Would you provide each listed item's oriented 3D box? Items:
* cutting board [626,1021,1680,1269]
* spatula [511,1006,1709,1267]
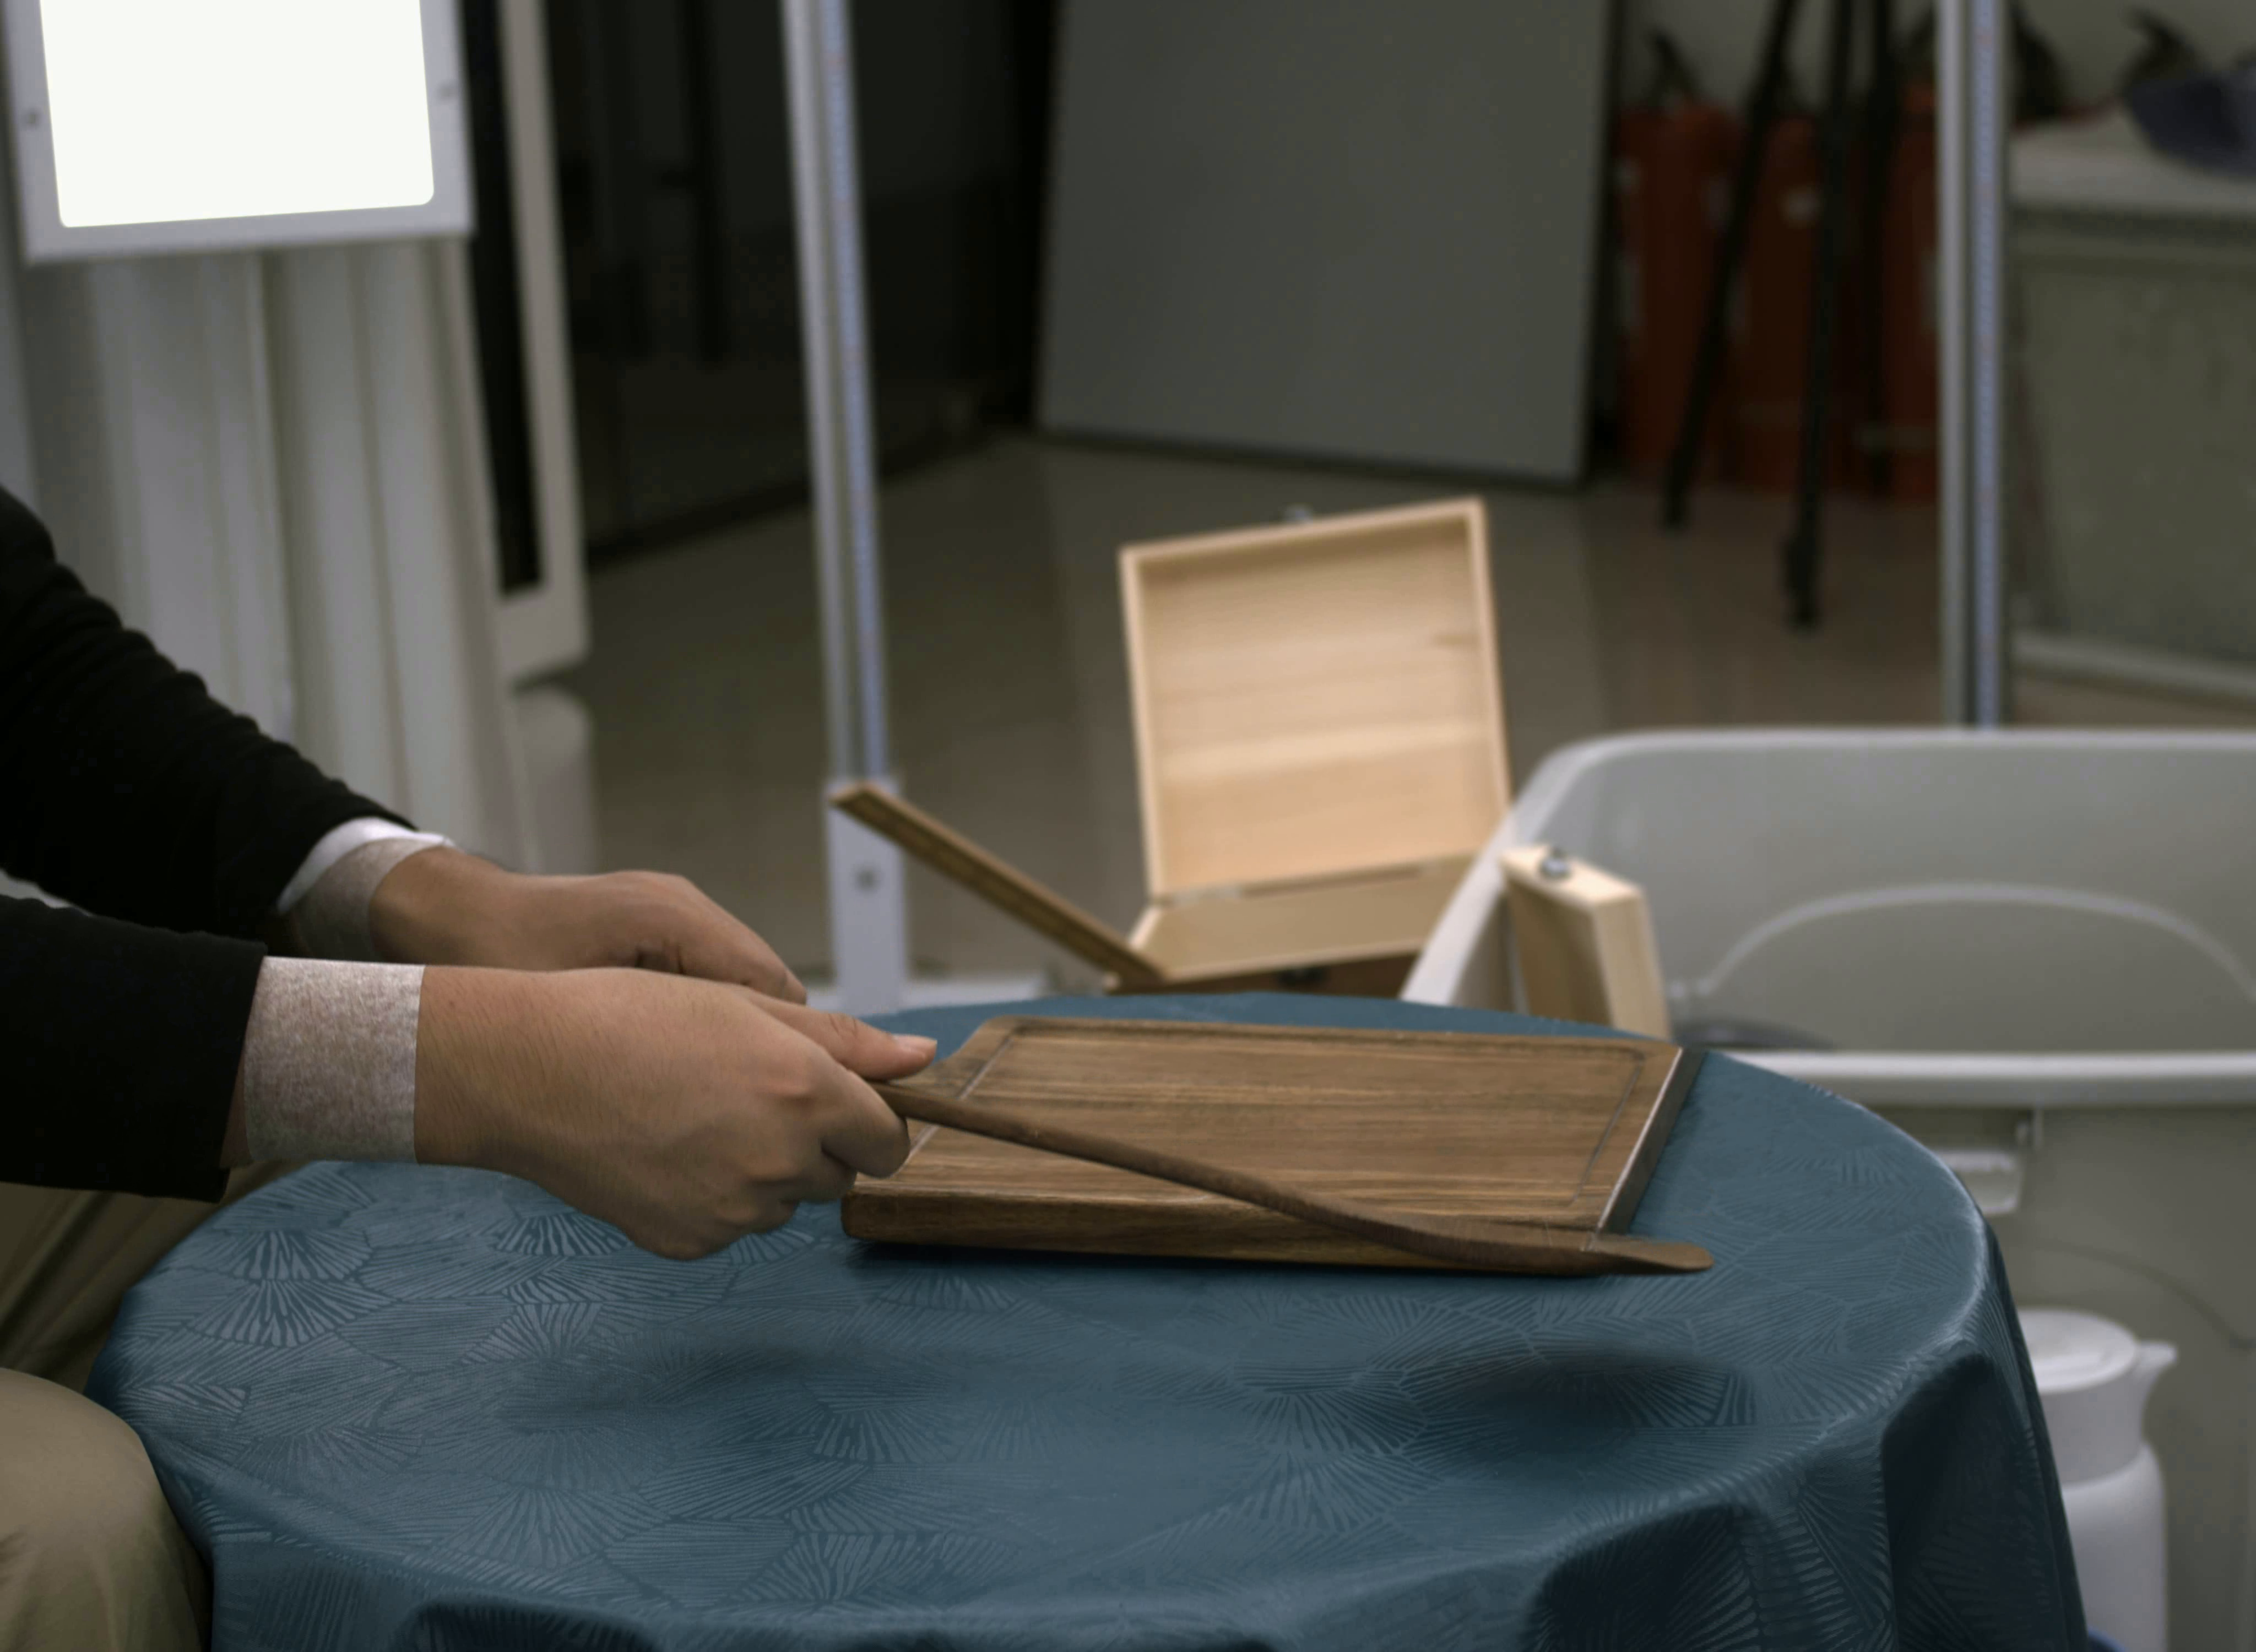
[{"bbox_3d":[0.001,0.101,1.786,0.350,0.023,0.200,1,14,14],"label":"cutting board"},{"bbox_3d":[-0.013,0.092,1.607,0.386,0.016,0.095,11,1,21],"label":"spatula"}]
